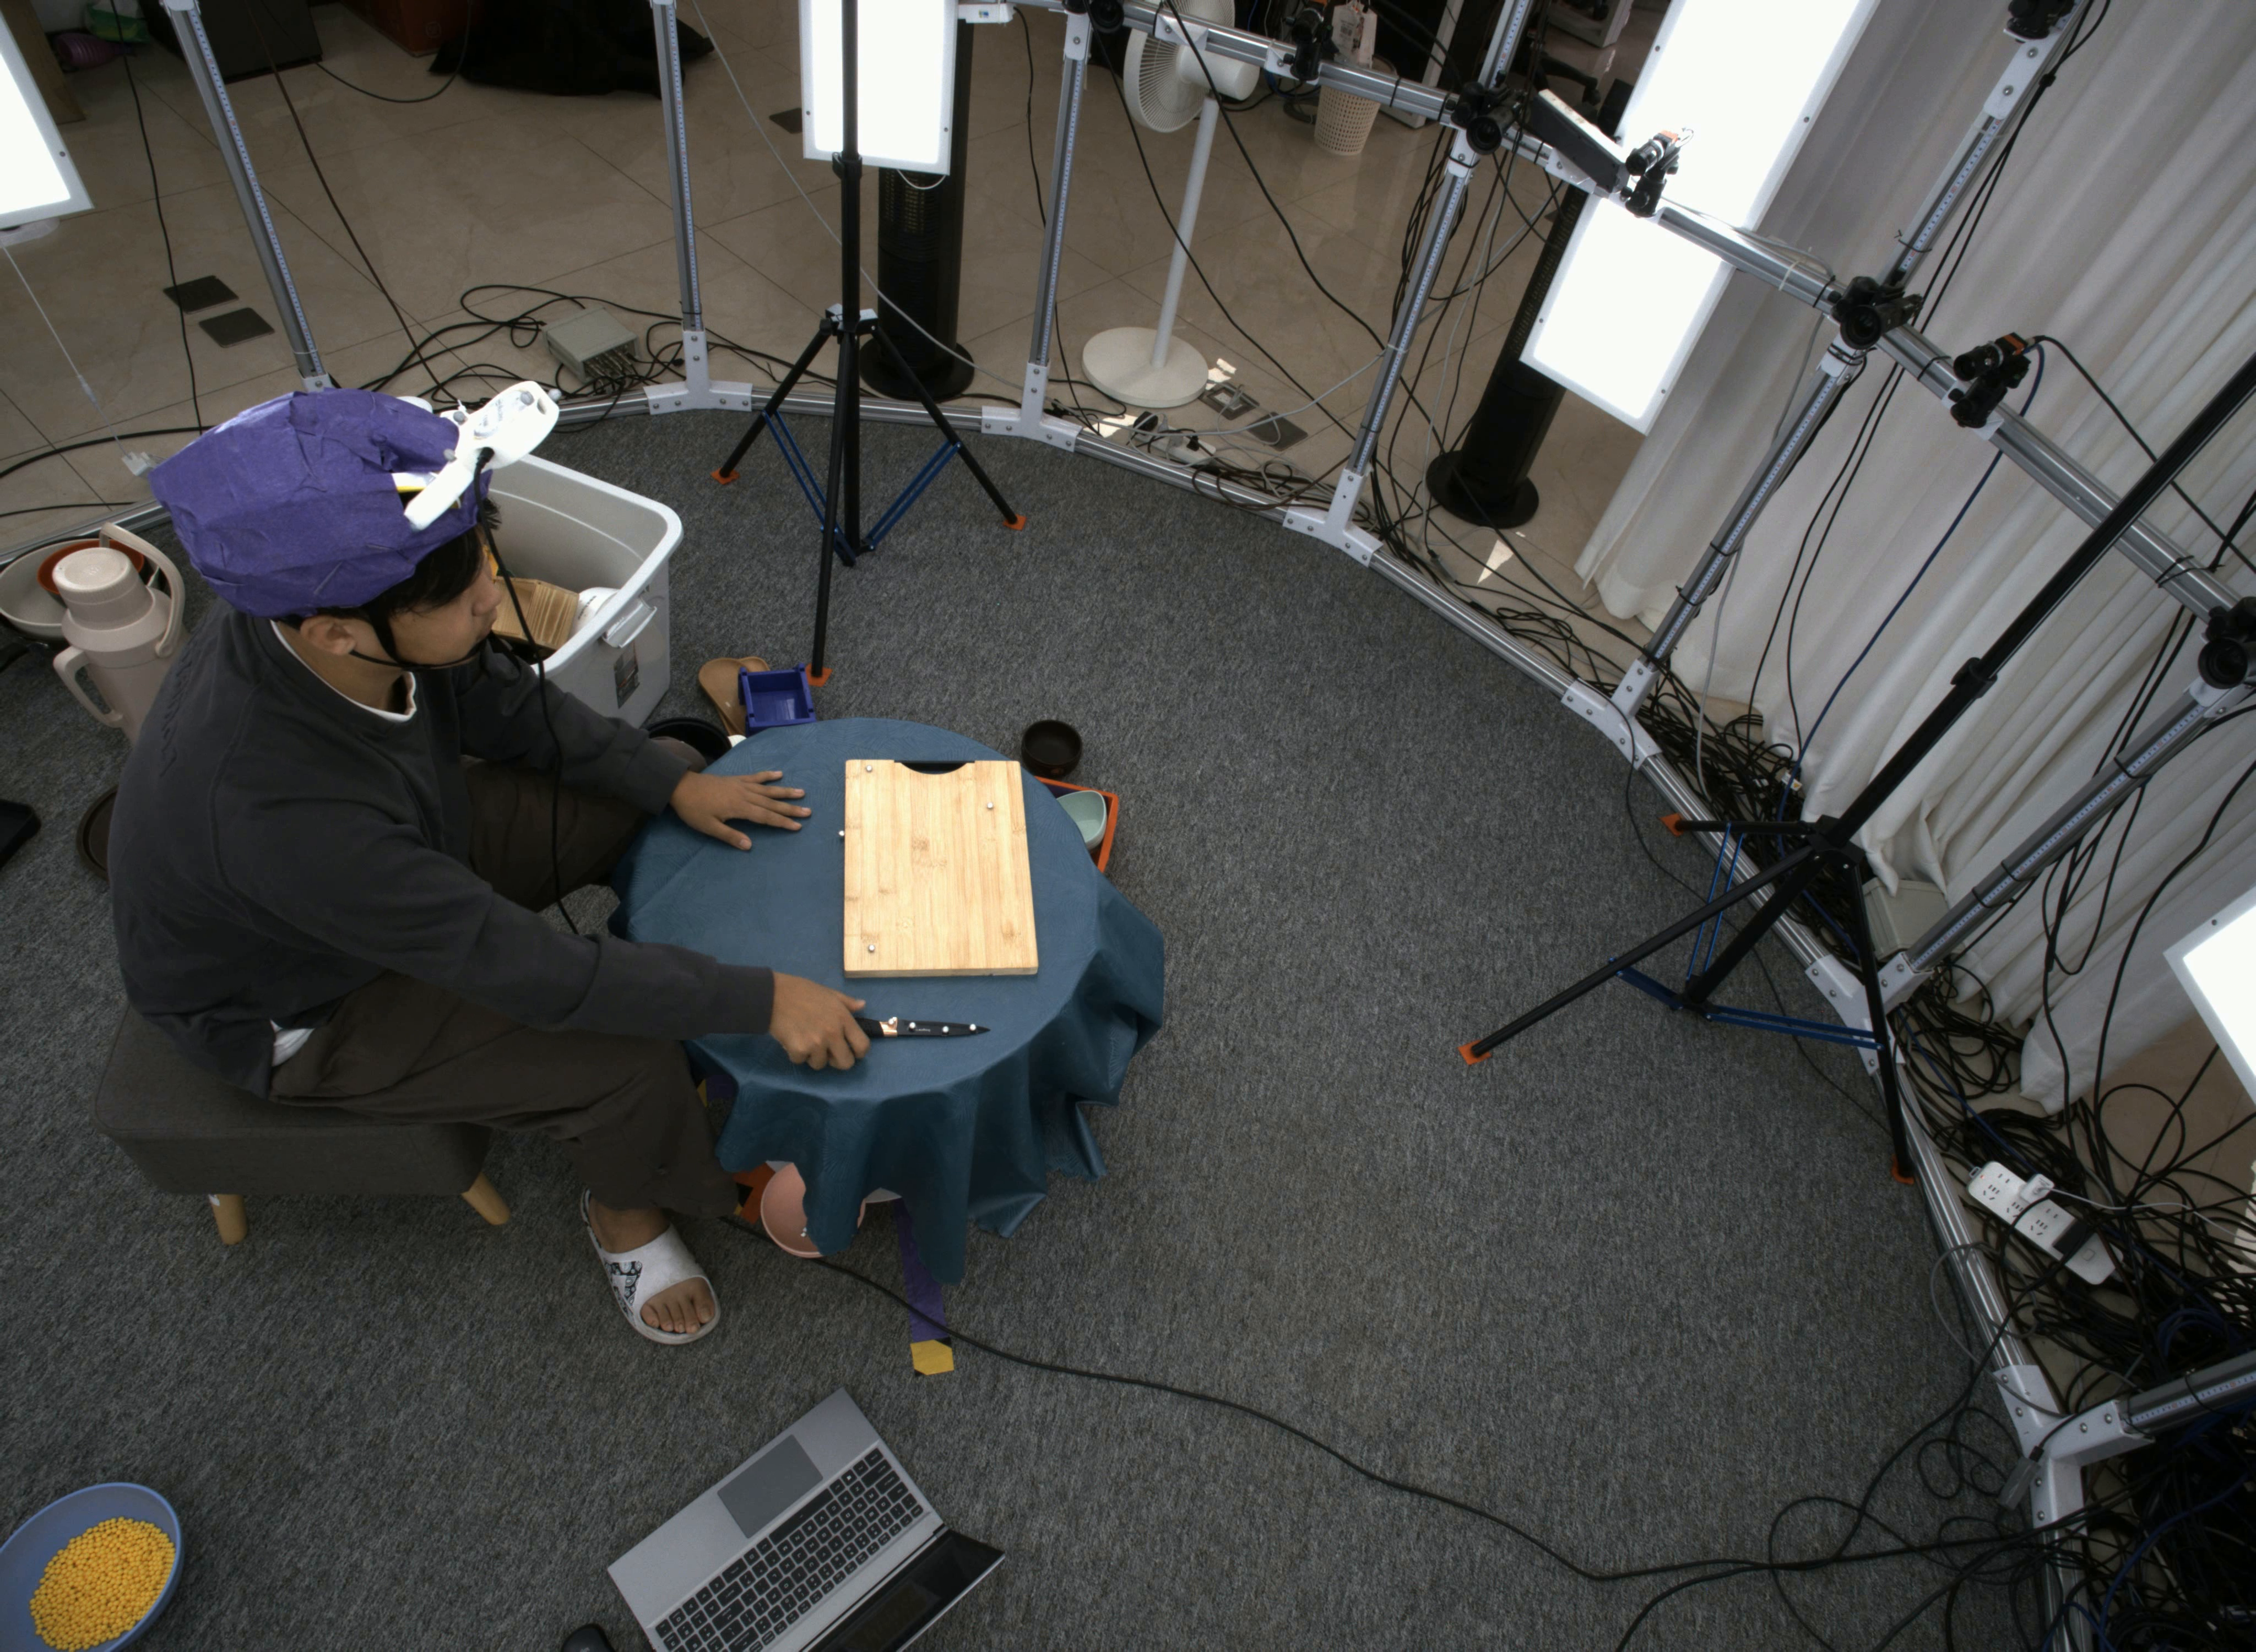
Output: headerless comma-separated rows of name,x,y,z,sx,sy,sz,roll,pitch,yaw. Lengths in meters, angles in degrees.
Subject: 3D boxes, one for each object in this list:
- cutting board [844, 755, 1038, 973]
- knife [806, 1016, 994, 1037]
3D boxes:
cutting board,-0.250,0.044,1.721,0.251,0.024,0.341,0,54,-14
knife,-0.274,0.240,1.572,0.226,0.017,0.025,2,47,-14
